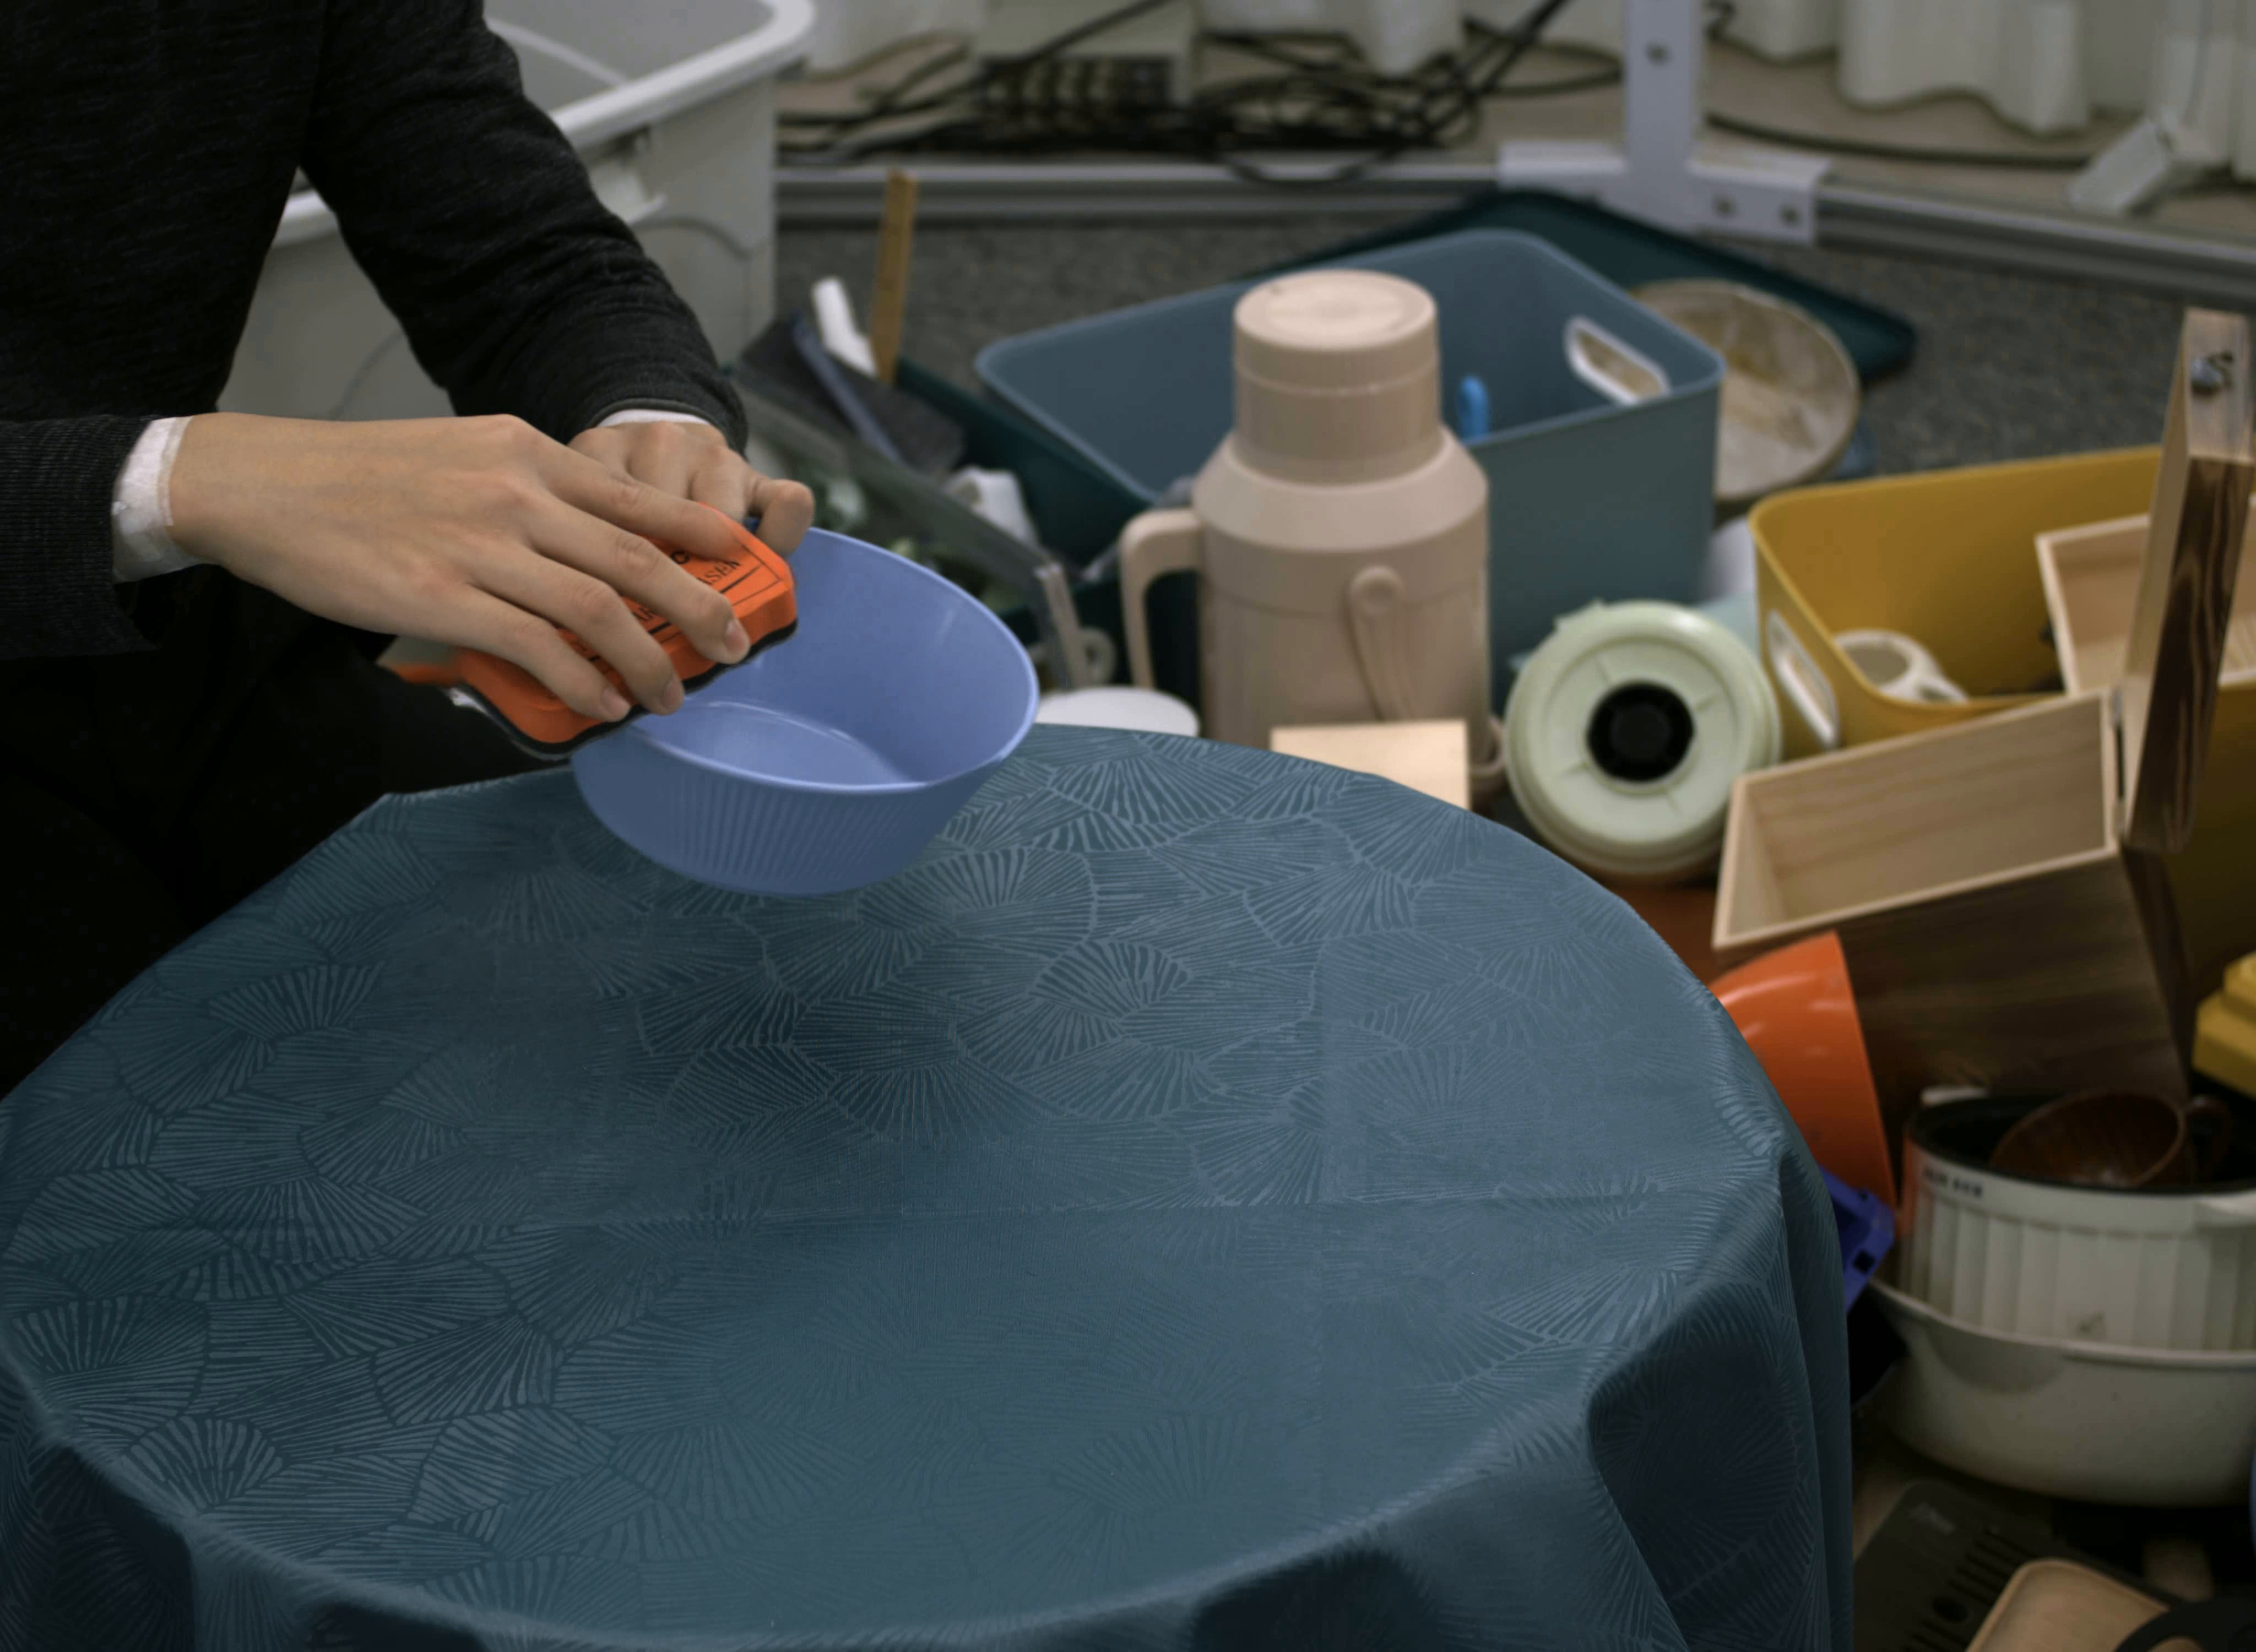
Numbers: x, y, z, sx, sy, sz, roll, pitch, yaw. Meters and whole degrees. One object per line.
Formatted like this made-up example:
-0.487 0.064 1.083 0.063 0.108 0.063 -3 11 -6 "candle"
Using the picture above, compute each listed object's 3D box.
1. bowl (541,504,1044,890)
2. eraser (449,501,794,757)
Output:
-0.121 -0.037 1.915 0.175 0.069 0.179 14 29 -7 "bowl"
-0.166 -0.065 1.847 0.109 0.022 0.059 -30 52 -29 "eraser"
